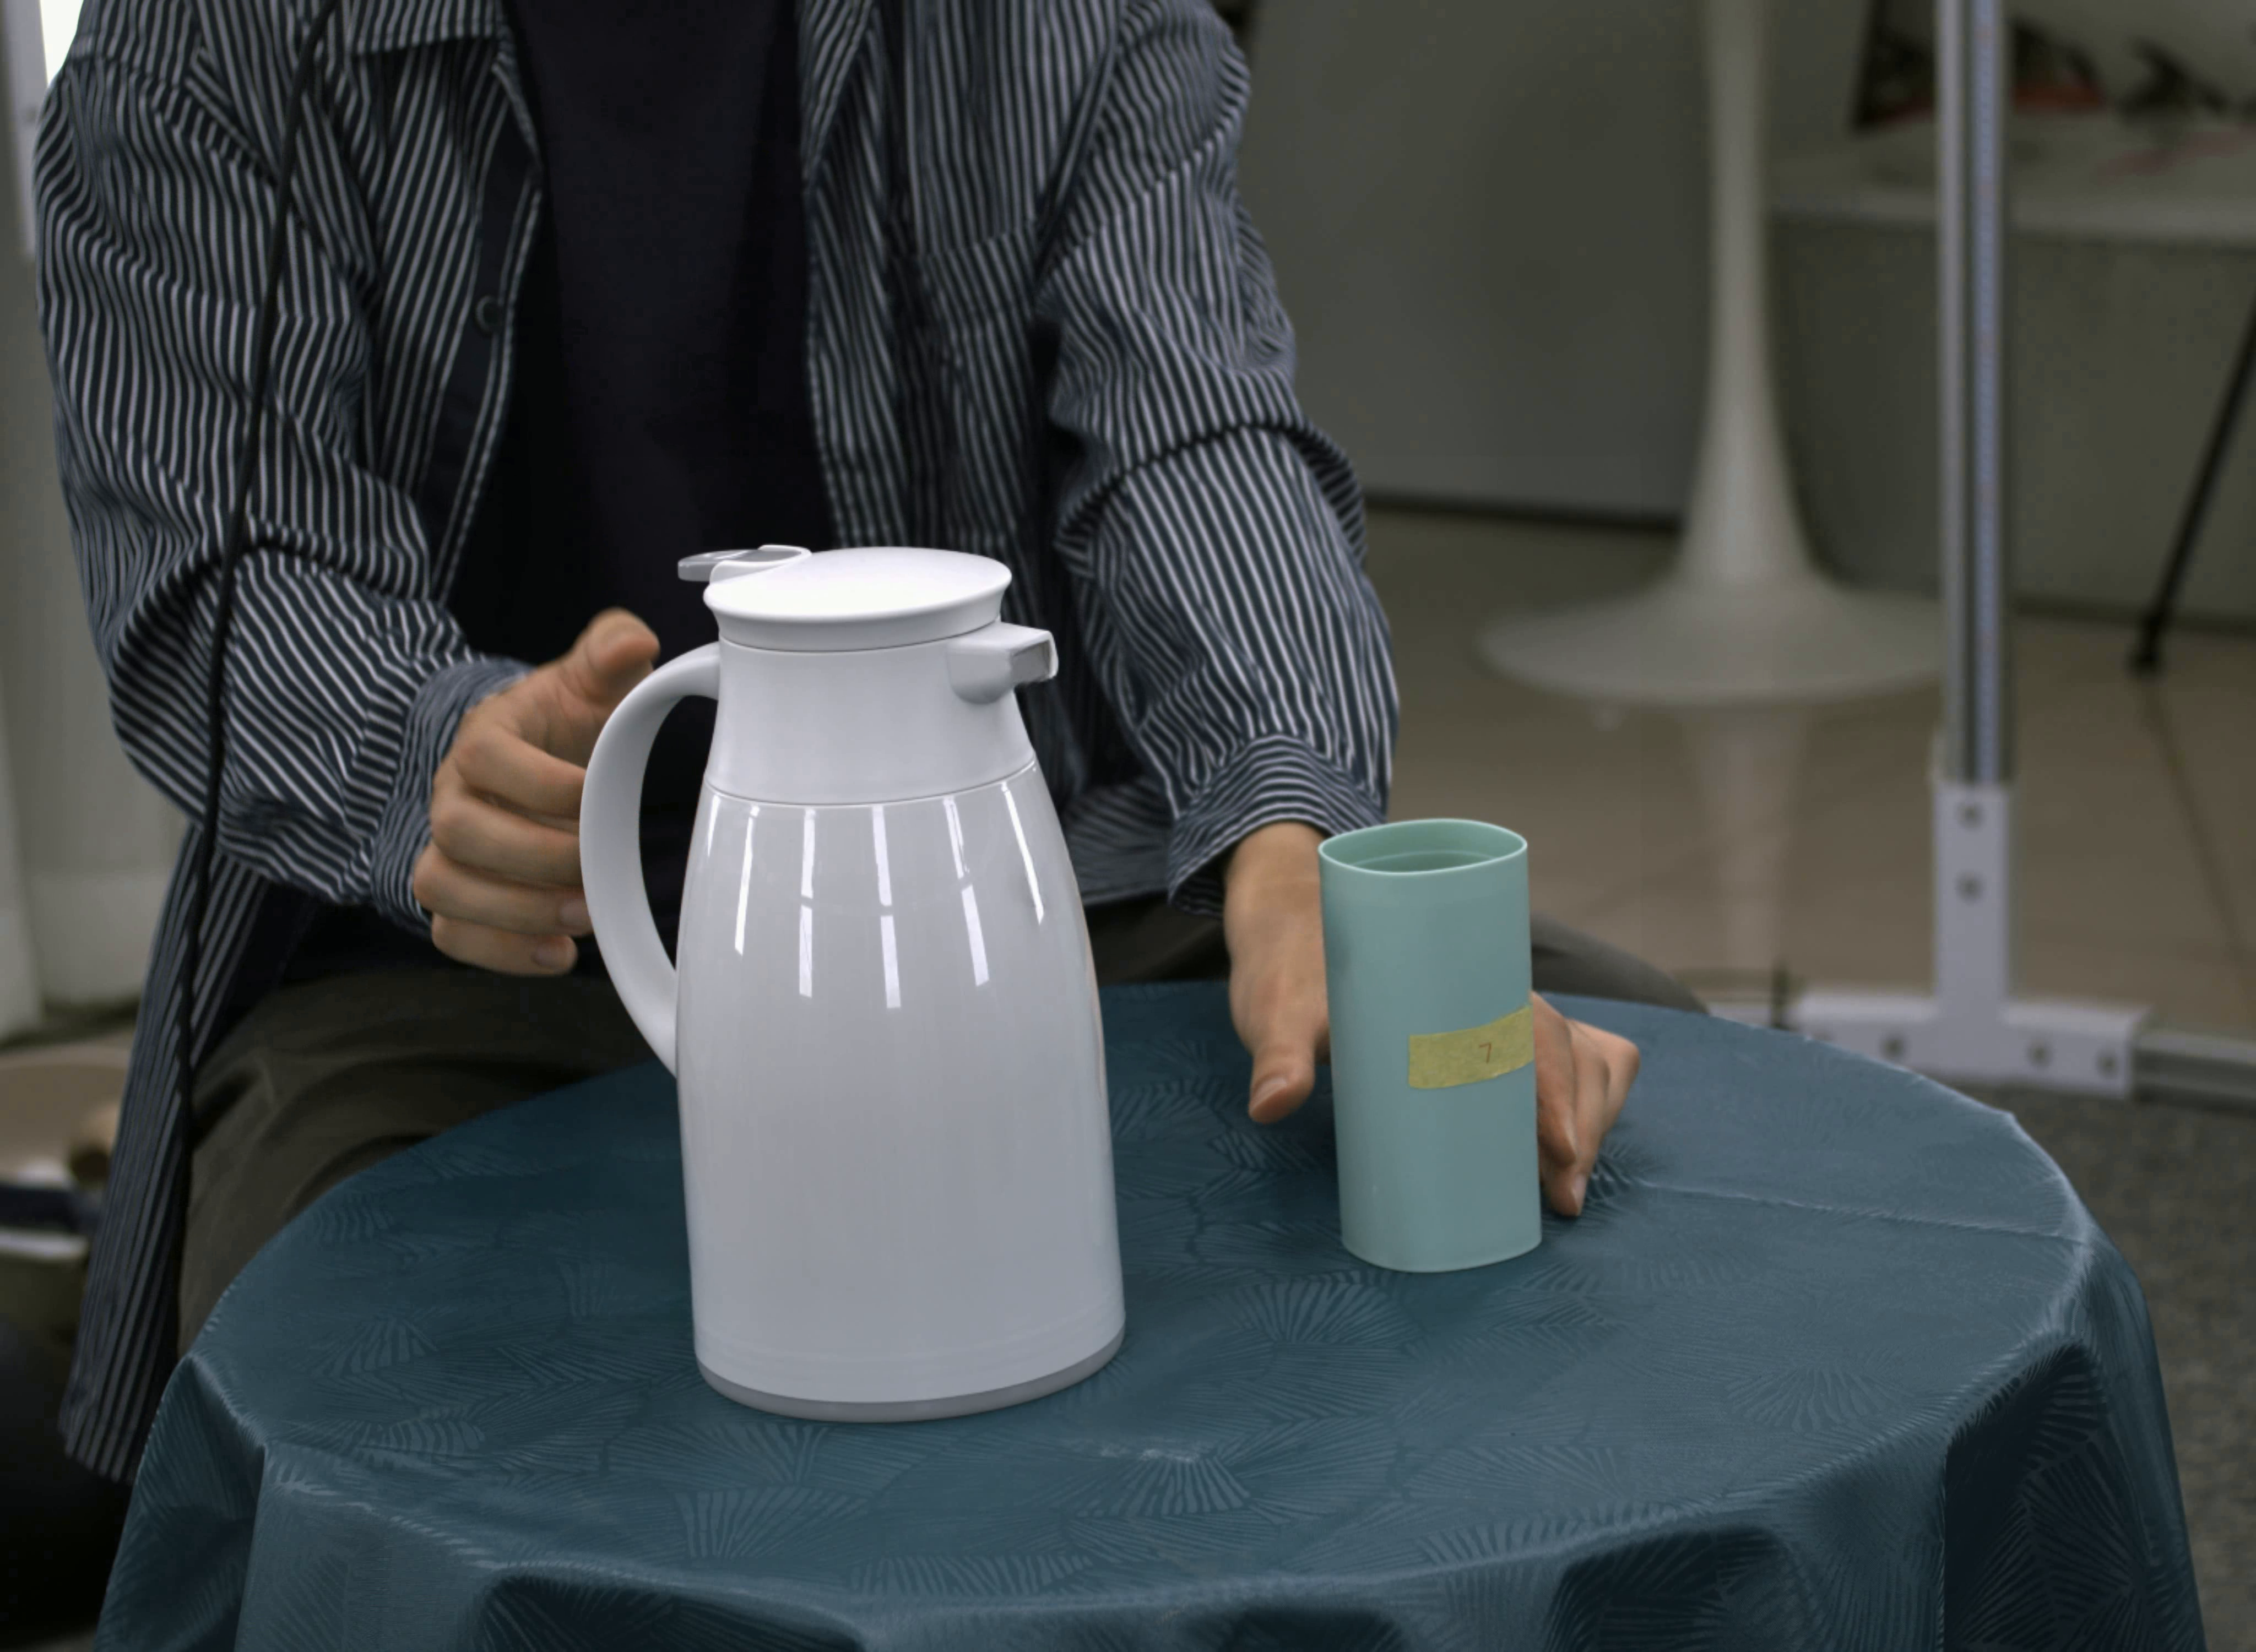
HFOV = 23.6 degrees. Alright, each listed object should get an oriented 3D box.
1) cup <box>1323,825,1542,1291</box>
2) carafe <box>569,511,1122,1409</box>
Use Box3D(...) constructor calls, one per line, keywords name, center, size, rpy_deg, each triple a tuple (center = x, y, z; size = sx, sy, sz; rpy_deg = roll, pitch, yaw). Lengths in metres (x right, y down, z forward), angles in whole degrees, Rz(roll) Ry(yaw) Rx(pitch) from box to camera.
Box3D(name="cup", center=(0.095, 0.071, 1.683), size=(0.066, 0.134, 0.067), rpy_deg=(-3, 14, 0))
Box3D(name="carafe", center=(-0.091, 0.032, 1.613), size=(0.168, 0.251, 0.130), rpy_deg=(3, 15, 29))
